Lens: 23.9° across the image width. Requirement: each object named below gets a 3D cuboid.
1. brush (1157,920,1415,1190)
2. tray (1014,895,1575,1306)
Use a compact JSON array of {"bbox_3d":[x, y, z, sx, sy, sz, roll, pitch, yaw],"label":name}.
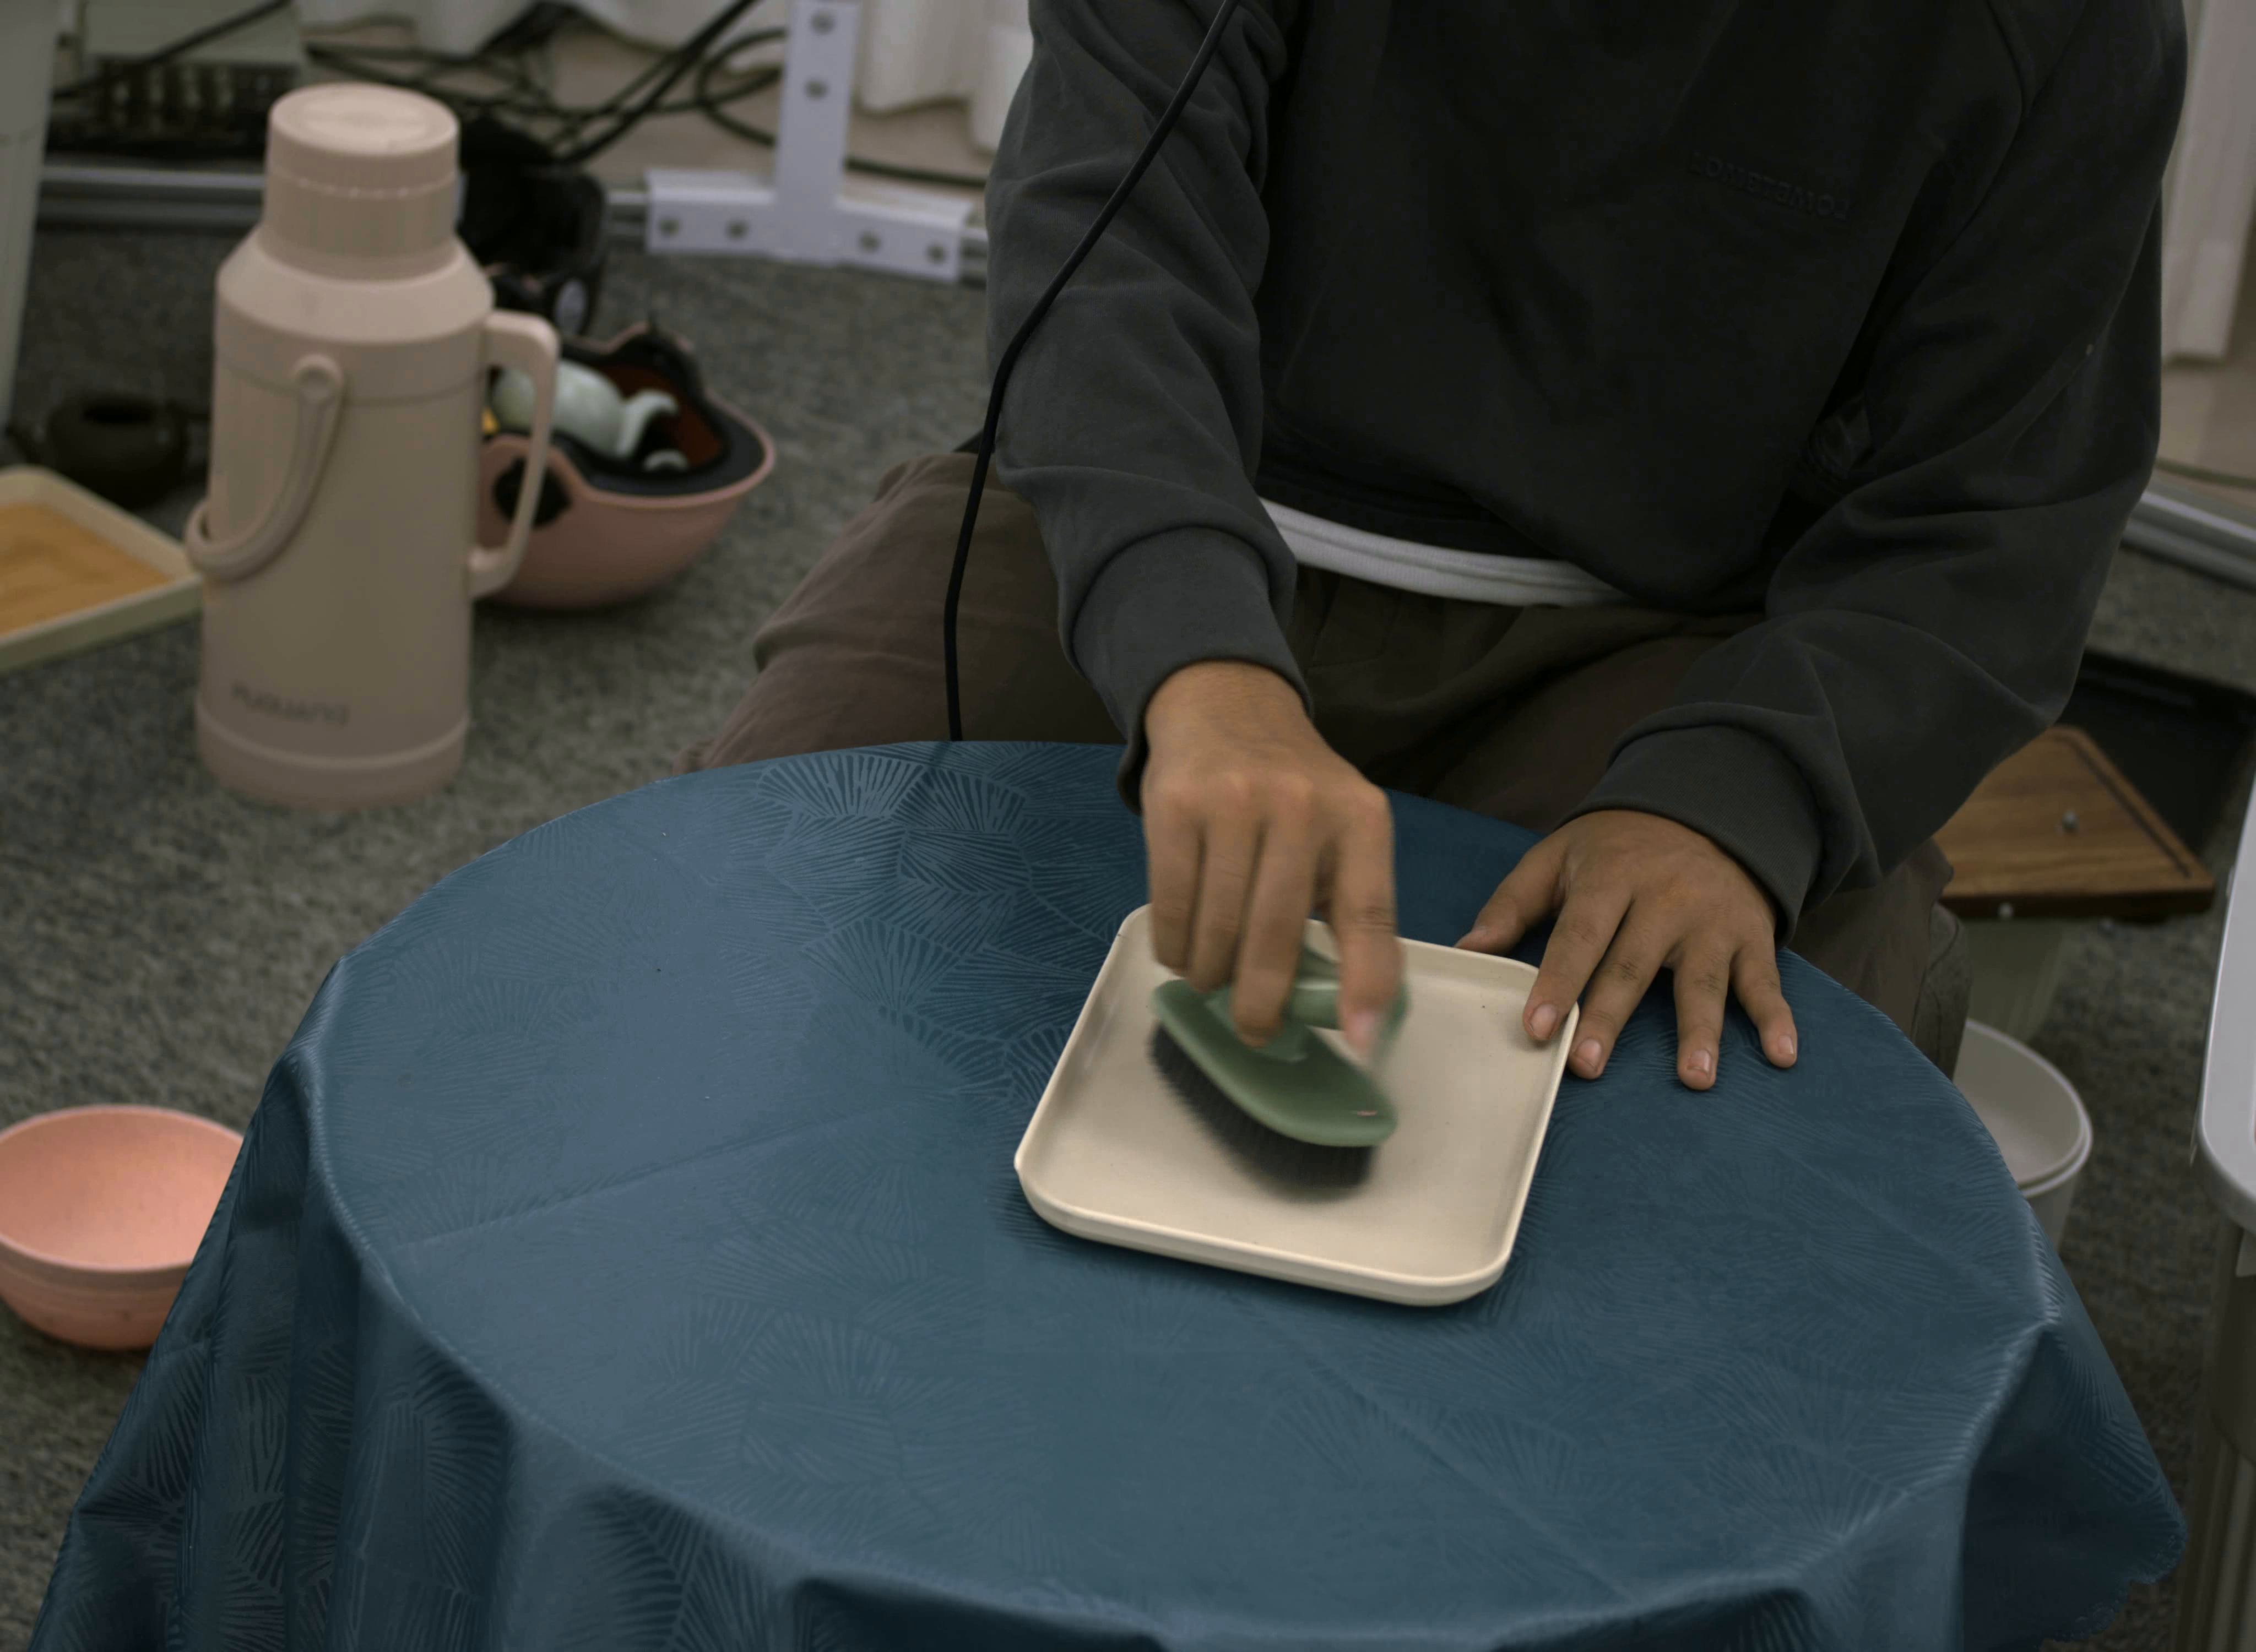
[{"bbox_3d":[0.055,0.077,1.840,0.059,0.076,0.124,1,11,-30],"label":"brush"},{"bbox_3d":[0.061,0.095,1.859,0.171,0.017,0.240,12,27,8],"label":"tray"}]
